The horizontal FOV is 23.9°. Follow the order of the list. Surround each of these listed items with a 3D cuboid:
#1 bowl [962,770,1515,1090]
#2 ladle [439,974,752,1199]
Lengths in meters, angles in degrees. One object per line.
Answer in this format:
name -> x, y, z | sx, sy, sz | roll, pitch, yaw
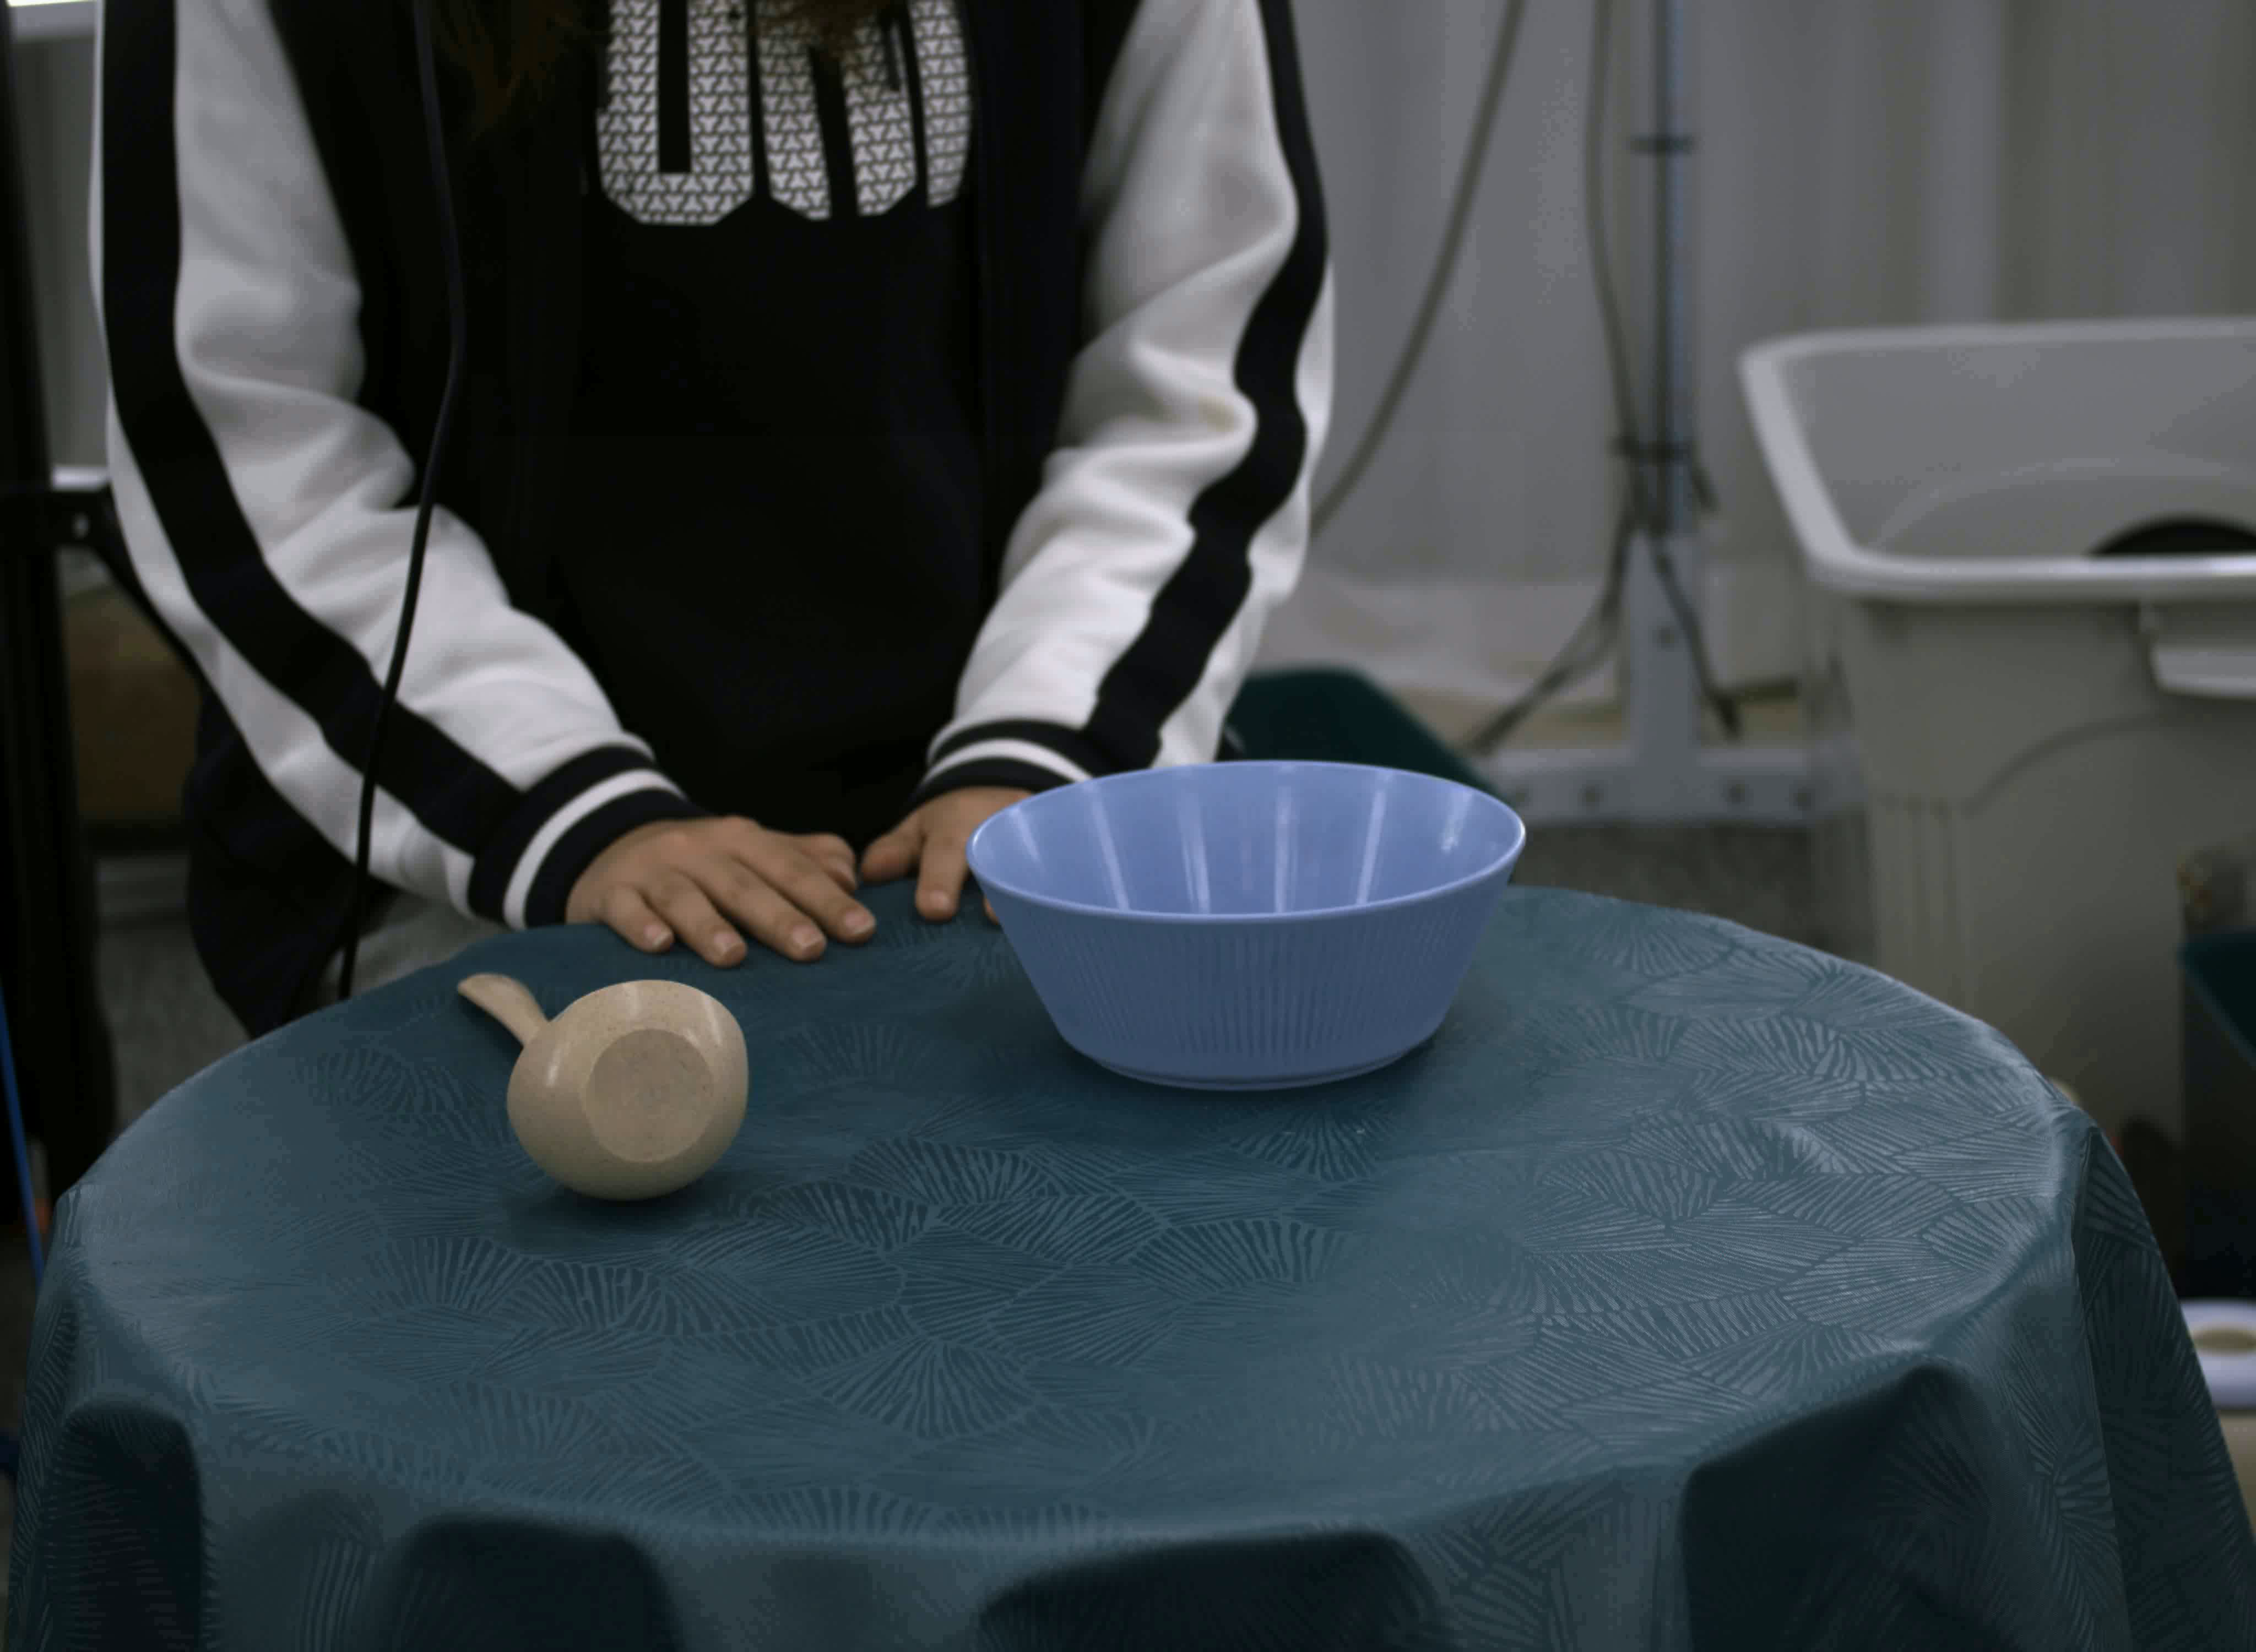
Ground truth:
bowl -> 0.035, 0.035, 1.683 | 0.175, 0.070, 0.177 | -2, 15, -1
ladle -> -0.179, 0.051, 1.656 | 0.071, 0.073, 0.259 | -6, 16, -19
